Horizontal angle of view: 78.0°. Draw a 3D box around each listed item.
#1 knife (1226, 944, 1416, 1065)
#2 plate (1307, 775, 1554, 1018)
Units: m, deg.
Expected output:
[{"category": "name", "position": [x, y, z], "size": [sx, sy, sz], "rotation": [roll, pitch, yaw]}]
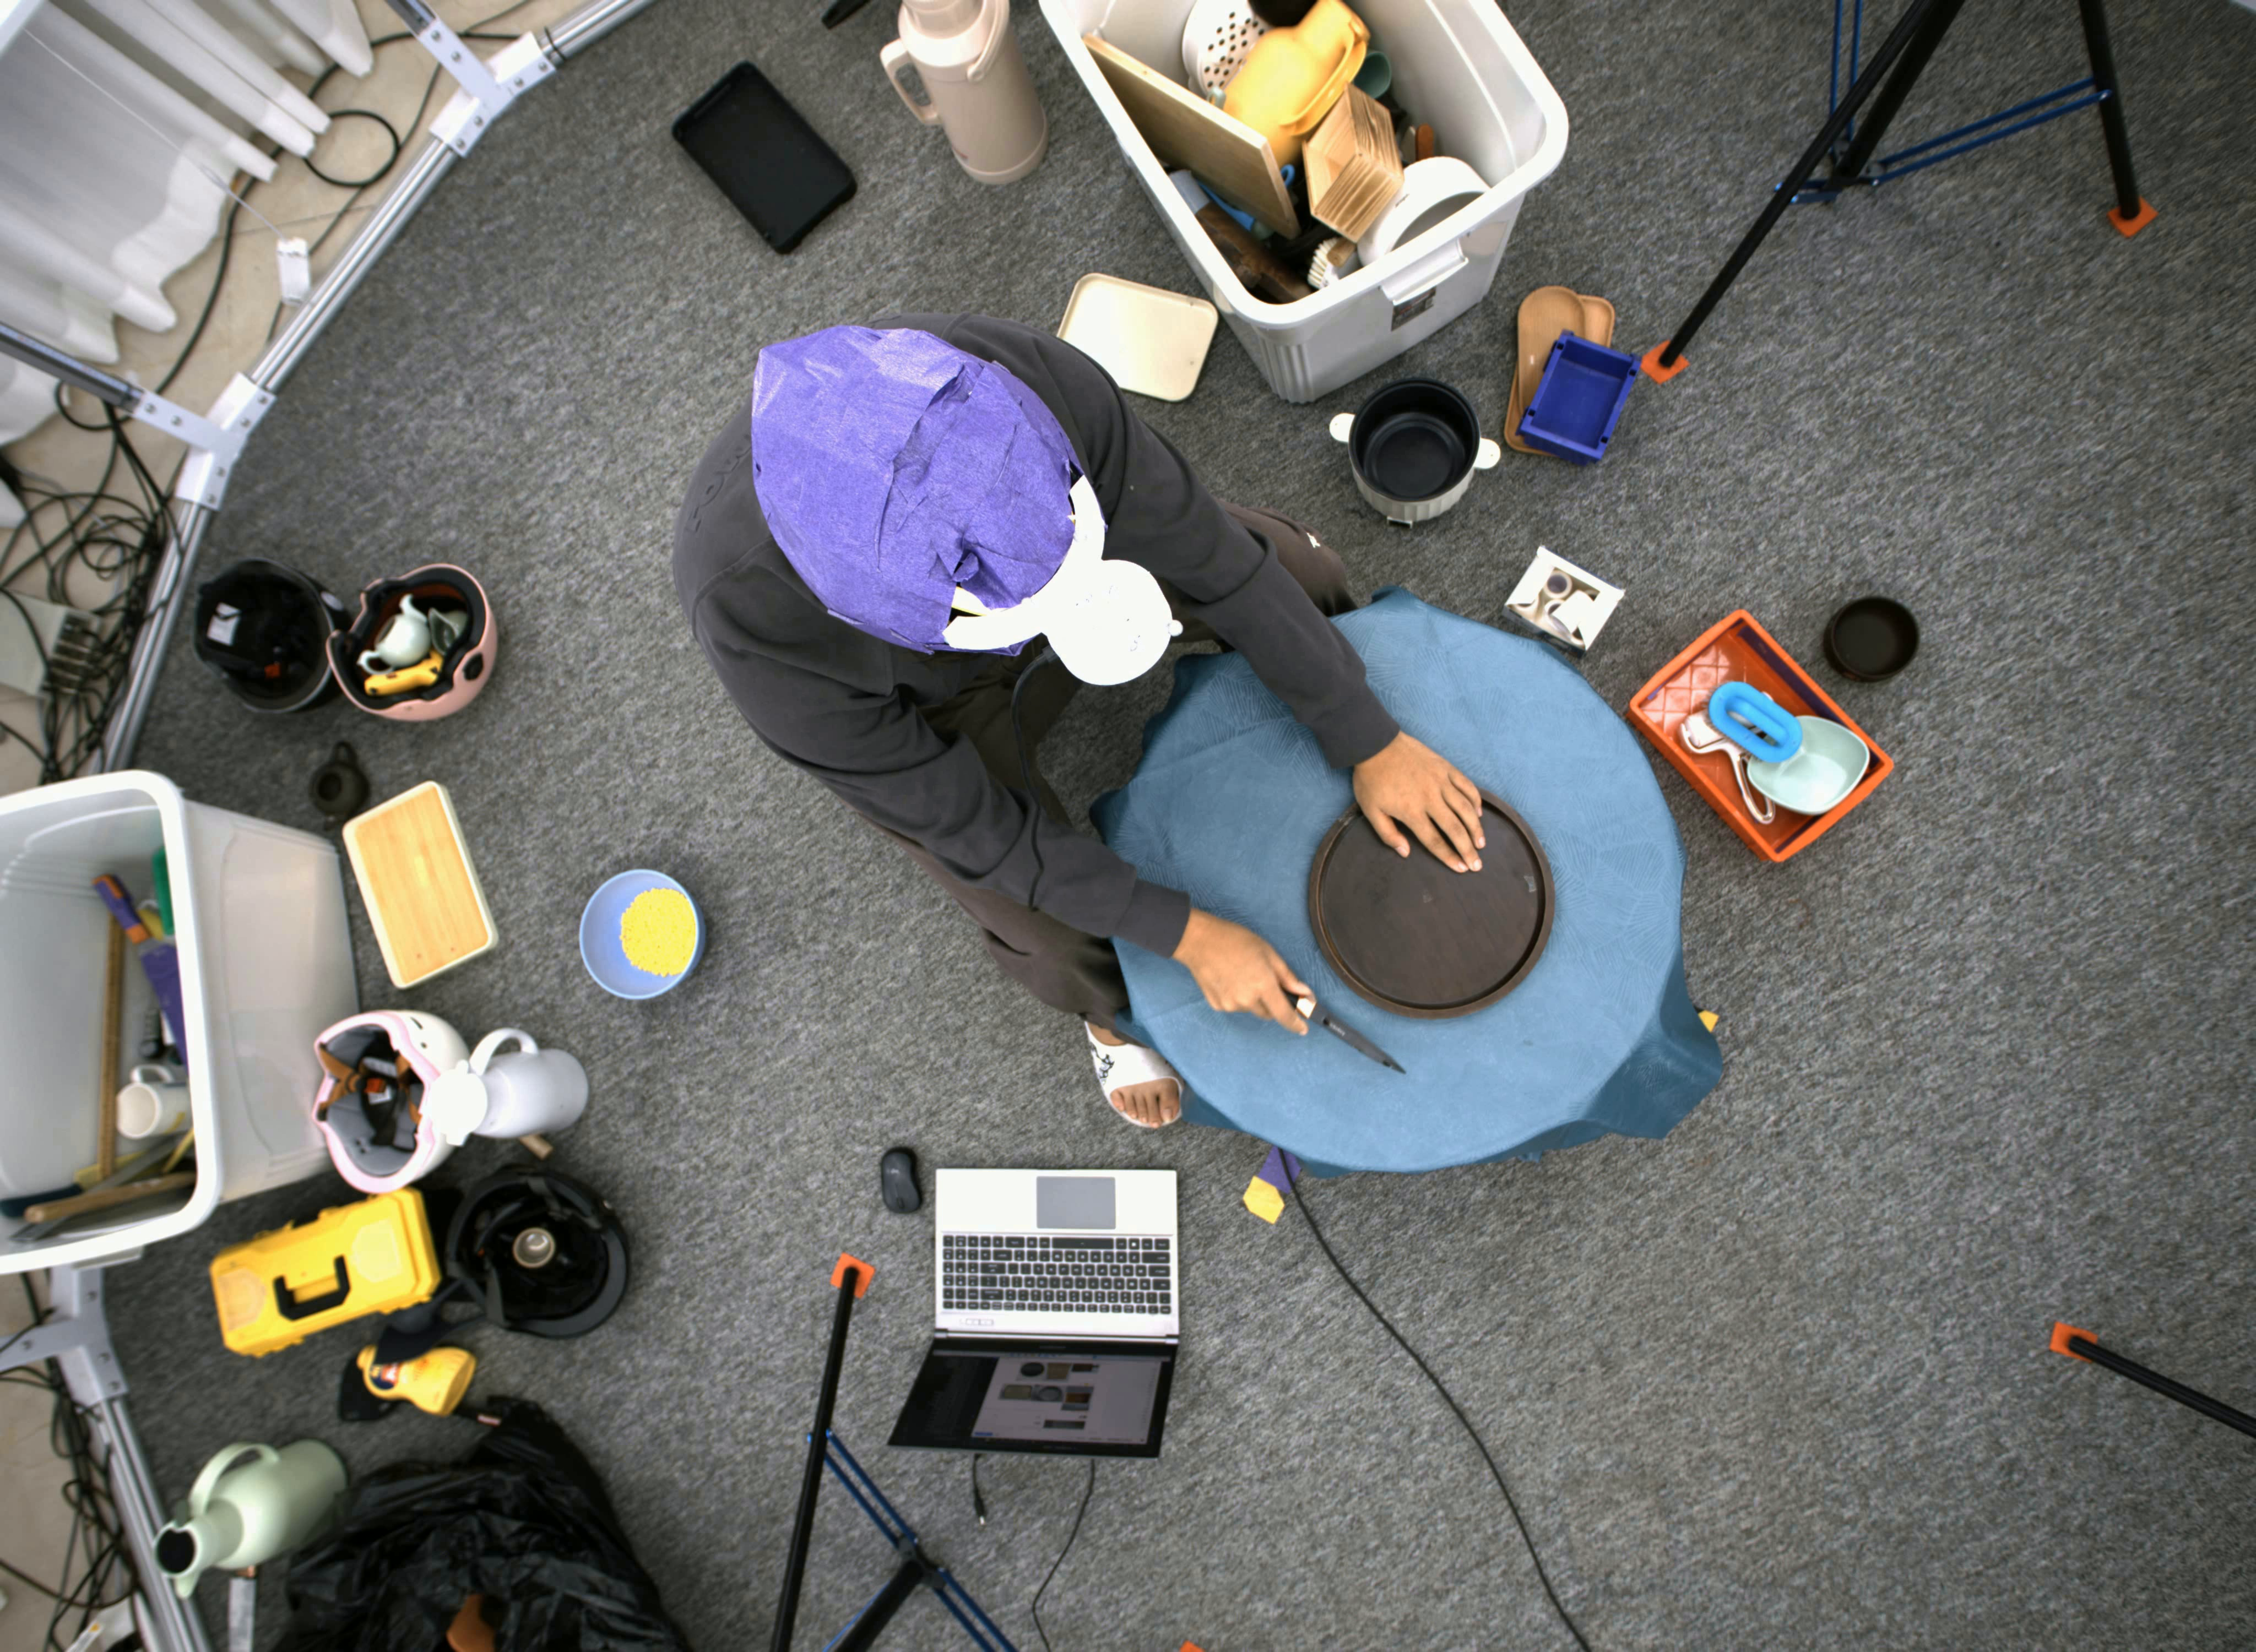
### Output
[{"category": "knife", "position": [0.197, 0.185, 1.430], "size": [0.225, 0.018, 0.025], "rotation": [32, 51, 14]}, {"category": "plate", "position": [0.315, 0.072, 1.441], "size": [0.256, 0.029, 0.253], "rotation": [-1, 87, 12]}]
